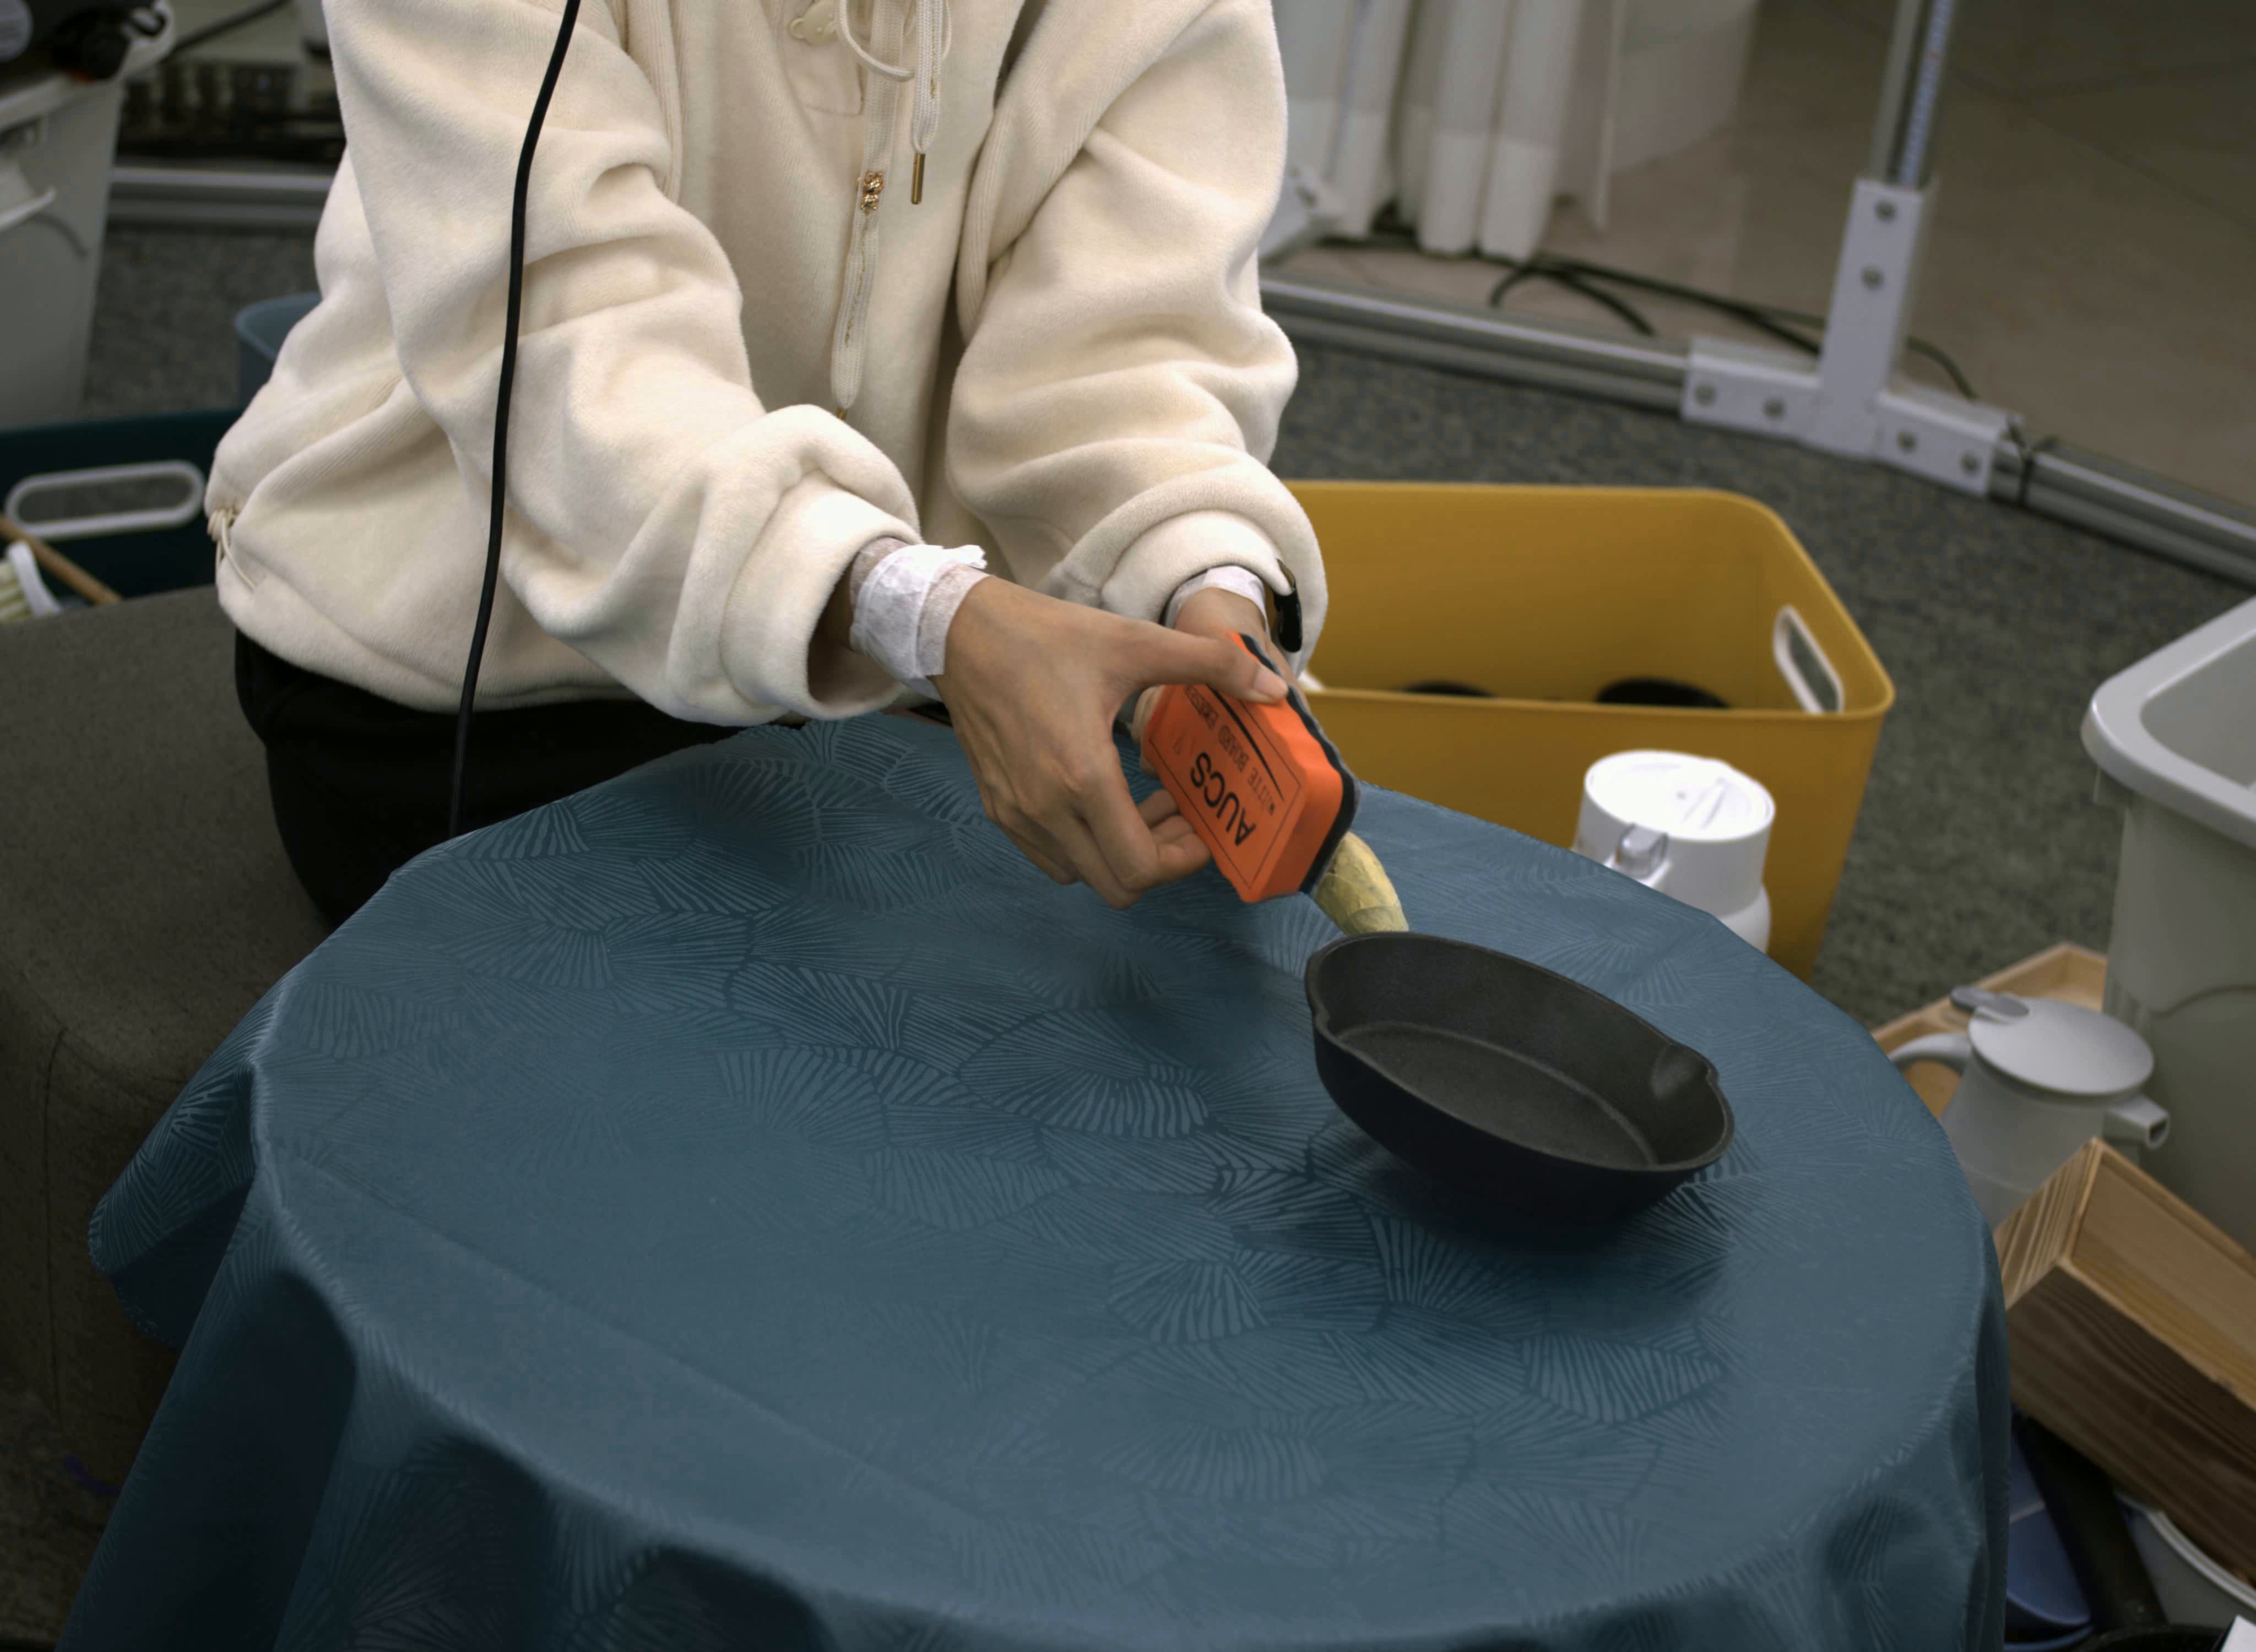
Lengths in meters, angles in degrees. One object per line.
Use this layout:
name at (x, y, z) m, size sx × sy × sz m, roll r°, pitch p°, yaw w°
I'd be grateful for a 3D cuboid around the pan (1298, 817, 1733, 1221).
pan at (0.095, 0.040, 1.885) m, size 0.167 × 0.049 × 0.327 m, roll 6°, pitch 27°, yaw -32°

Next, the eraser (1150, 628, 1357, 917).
eraser at (0.044, -0.020, 1.893) m, size 0.022 × 0.059 × 0.109 m, roll 10°, pitch 30°, yaw -30°
